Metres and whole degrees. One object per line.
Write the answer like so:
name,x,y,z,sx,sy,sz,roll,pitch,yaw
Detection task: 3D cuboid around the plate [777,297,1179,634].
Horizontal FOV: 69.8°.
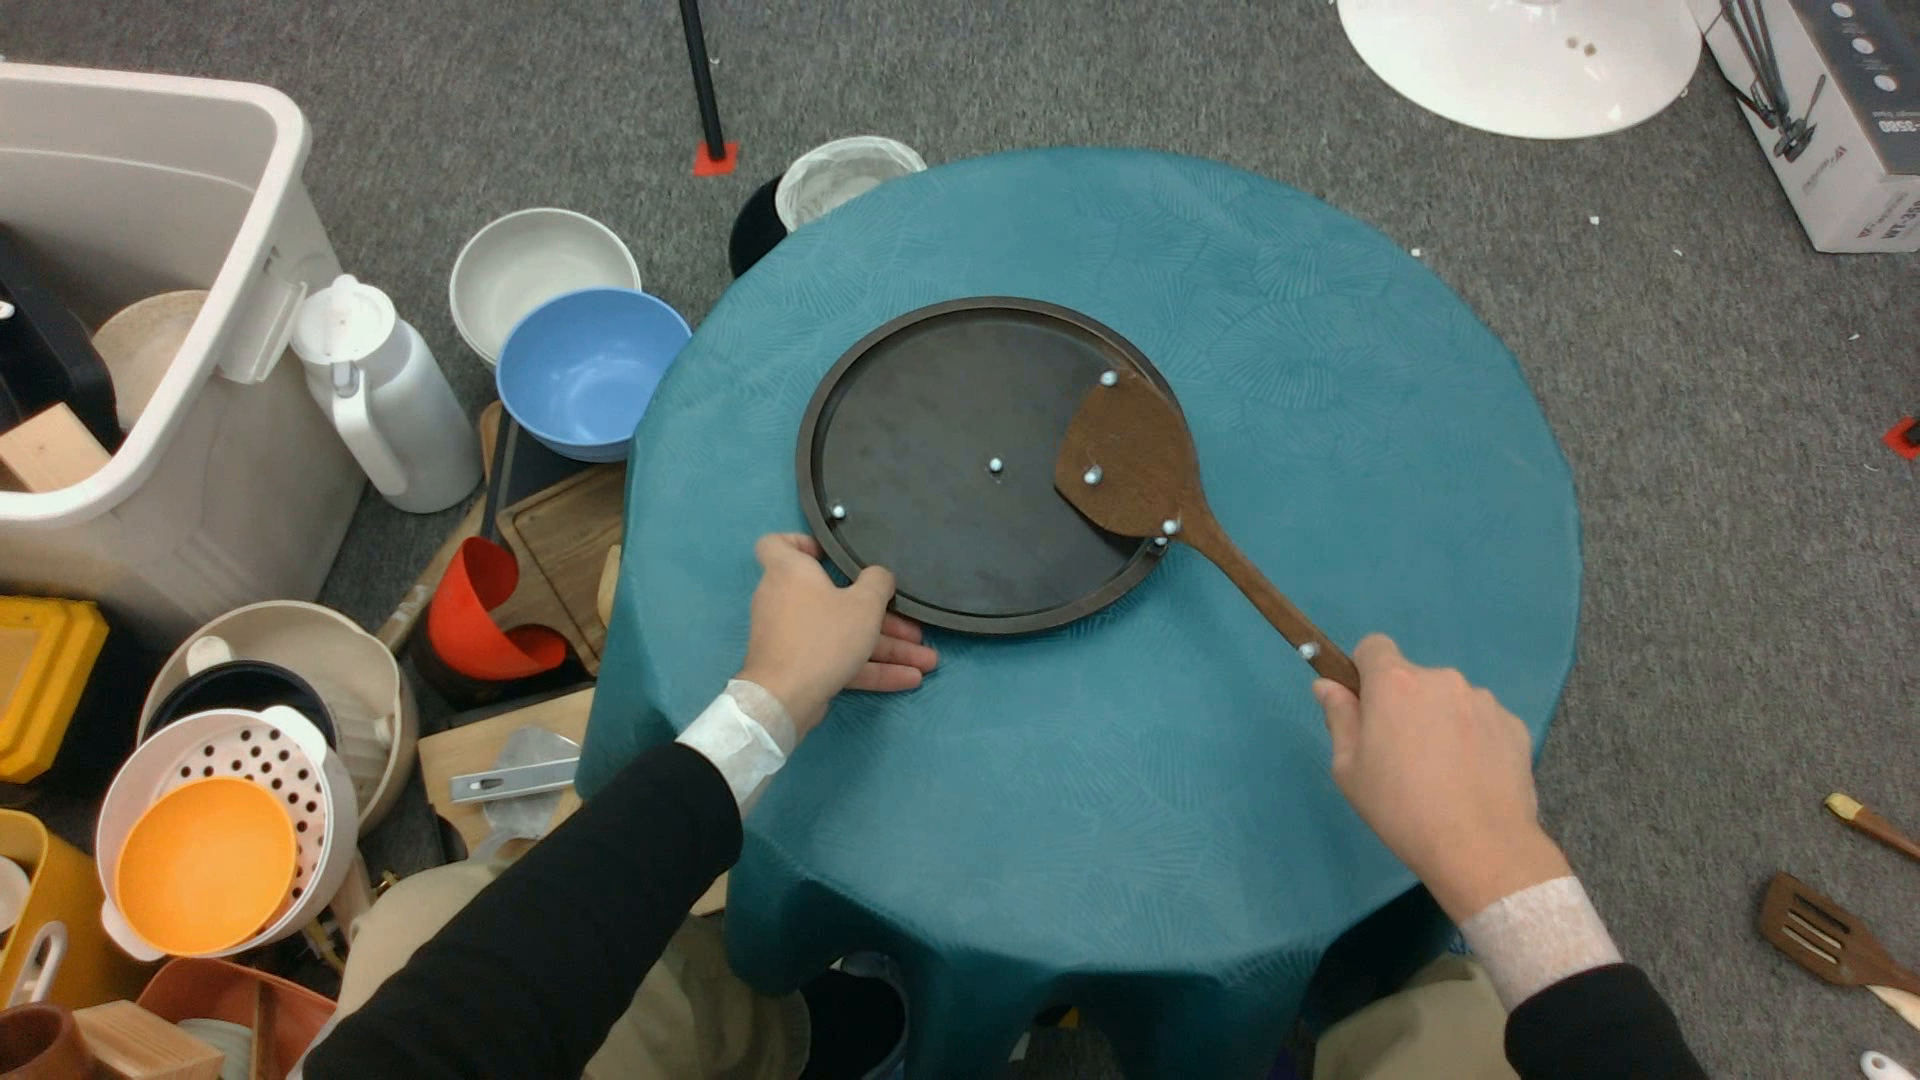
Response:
plate,0.011,-0.052,0.874,0.255,0.029,0.256,1,60,-2

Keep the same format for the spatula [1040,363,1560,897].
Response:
spatula,0.170,0.042,0.747,0.016,0.095,0.386,-4,42,-43
